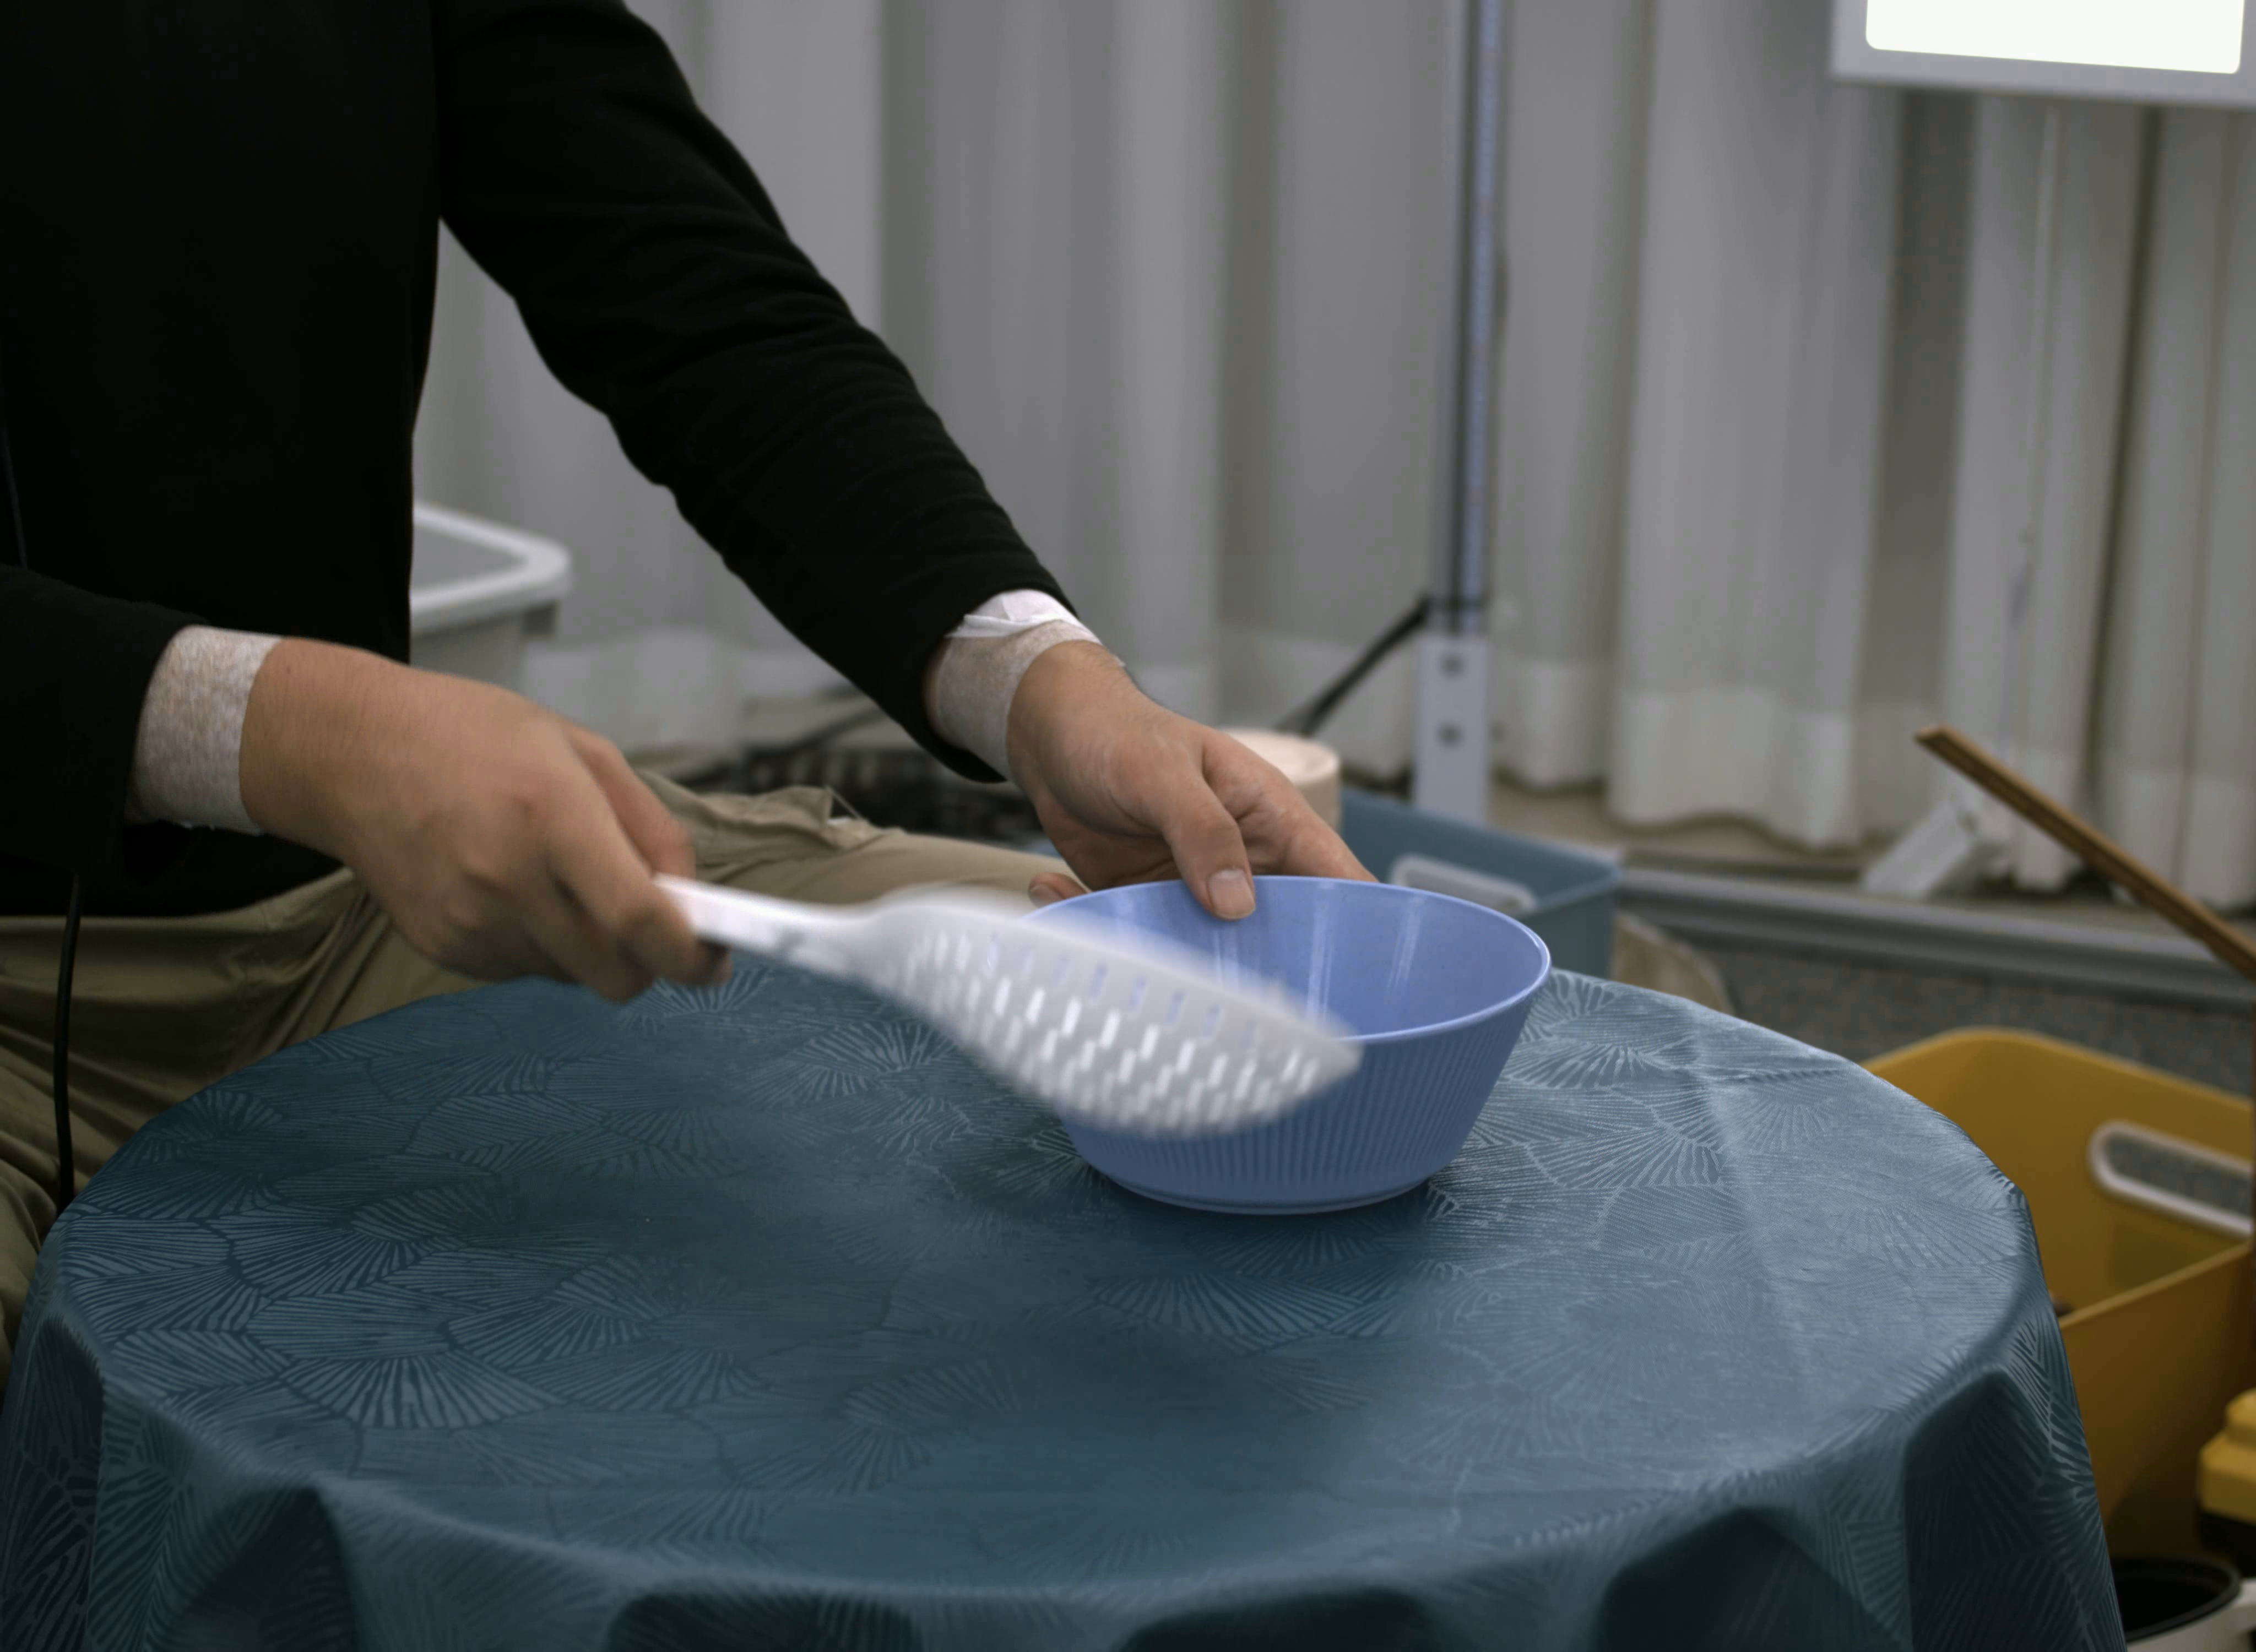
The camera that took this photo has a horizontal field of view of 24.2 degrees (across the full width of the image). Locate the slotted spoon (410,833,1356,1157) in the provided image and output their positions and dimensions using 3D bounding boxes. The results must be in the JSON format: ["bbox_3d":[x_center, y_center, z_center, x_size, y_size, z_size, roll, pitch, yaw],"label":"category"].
[{"bbox_3d":[-0.085,0.039,1.519,0.345,0.046,0.138,18,-7,40],"label":"slotted spoon"}]

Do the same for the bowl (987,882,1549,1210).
[{"bbox_3d":[0.043,0.070,1.642,0.175,0.071,0.175,0,15,1],"label":"bowl"}]
